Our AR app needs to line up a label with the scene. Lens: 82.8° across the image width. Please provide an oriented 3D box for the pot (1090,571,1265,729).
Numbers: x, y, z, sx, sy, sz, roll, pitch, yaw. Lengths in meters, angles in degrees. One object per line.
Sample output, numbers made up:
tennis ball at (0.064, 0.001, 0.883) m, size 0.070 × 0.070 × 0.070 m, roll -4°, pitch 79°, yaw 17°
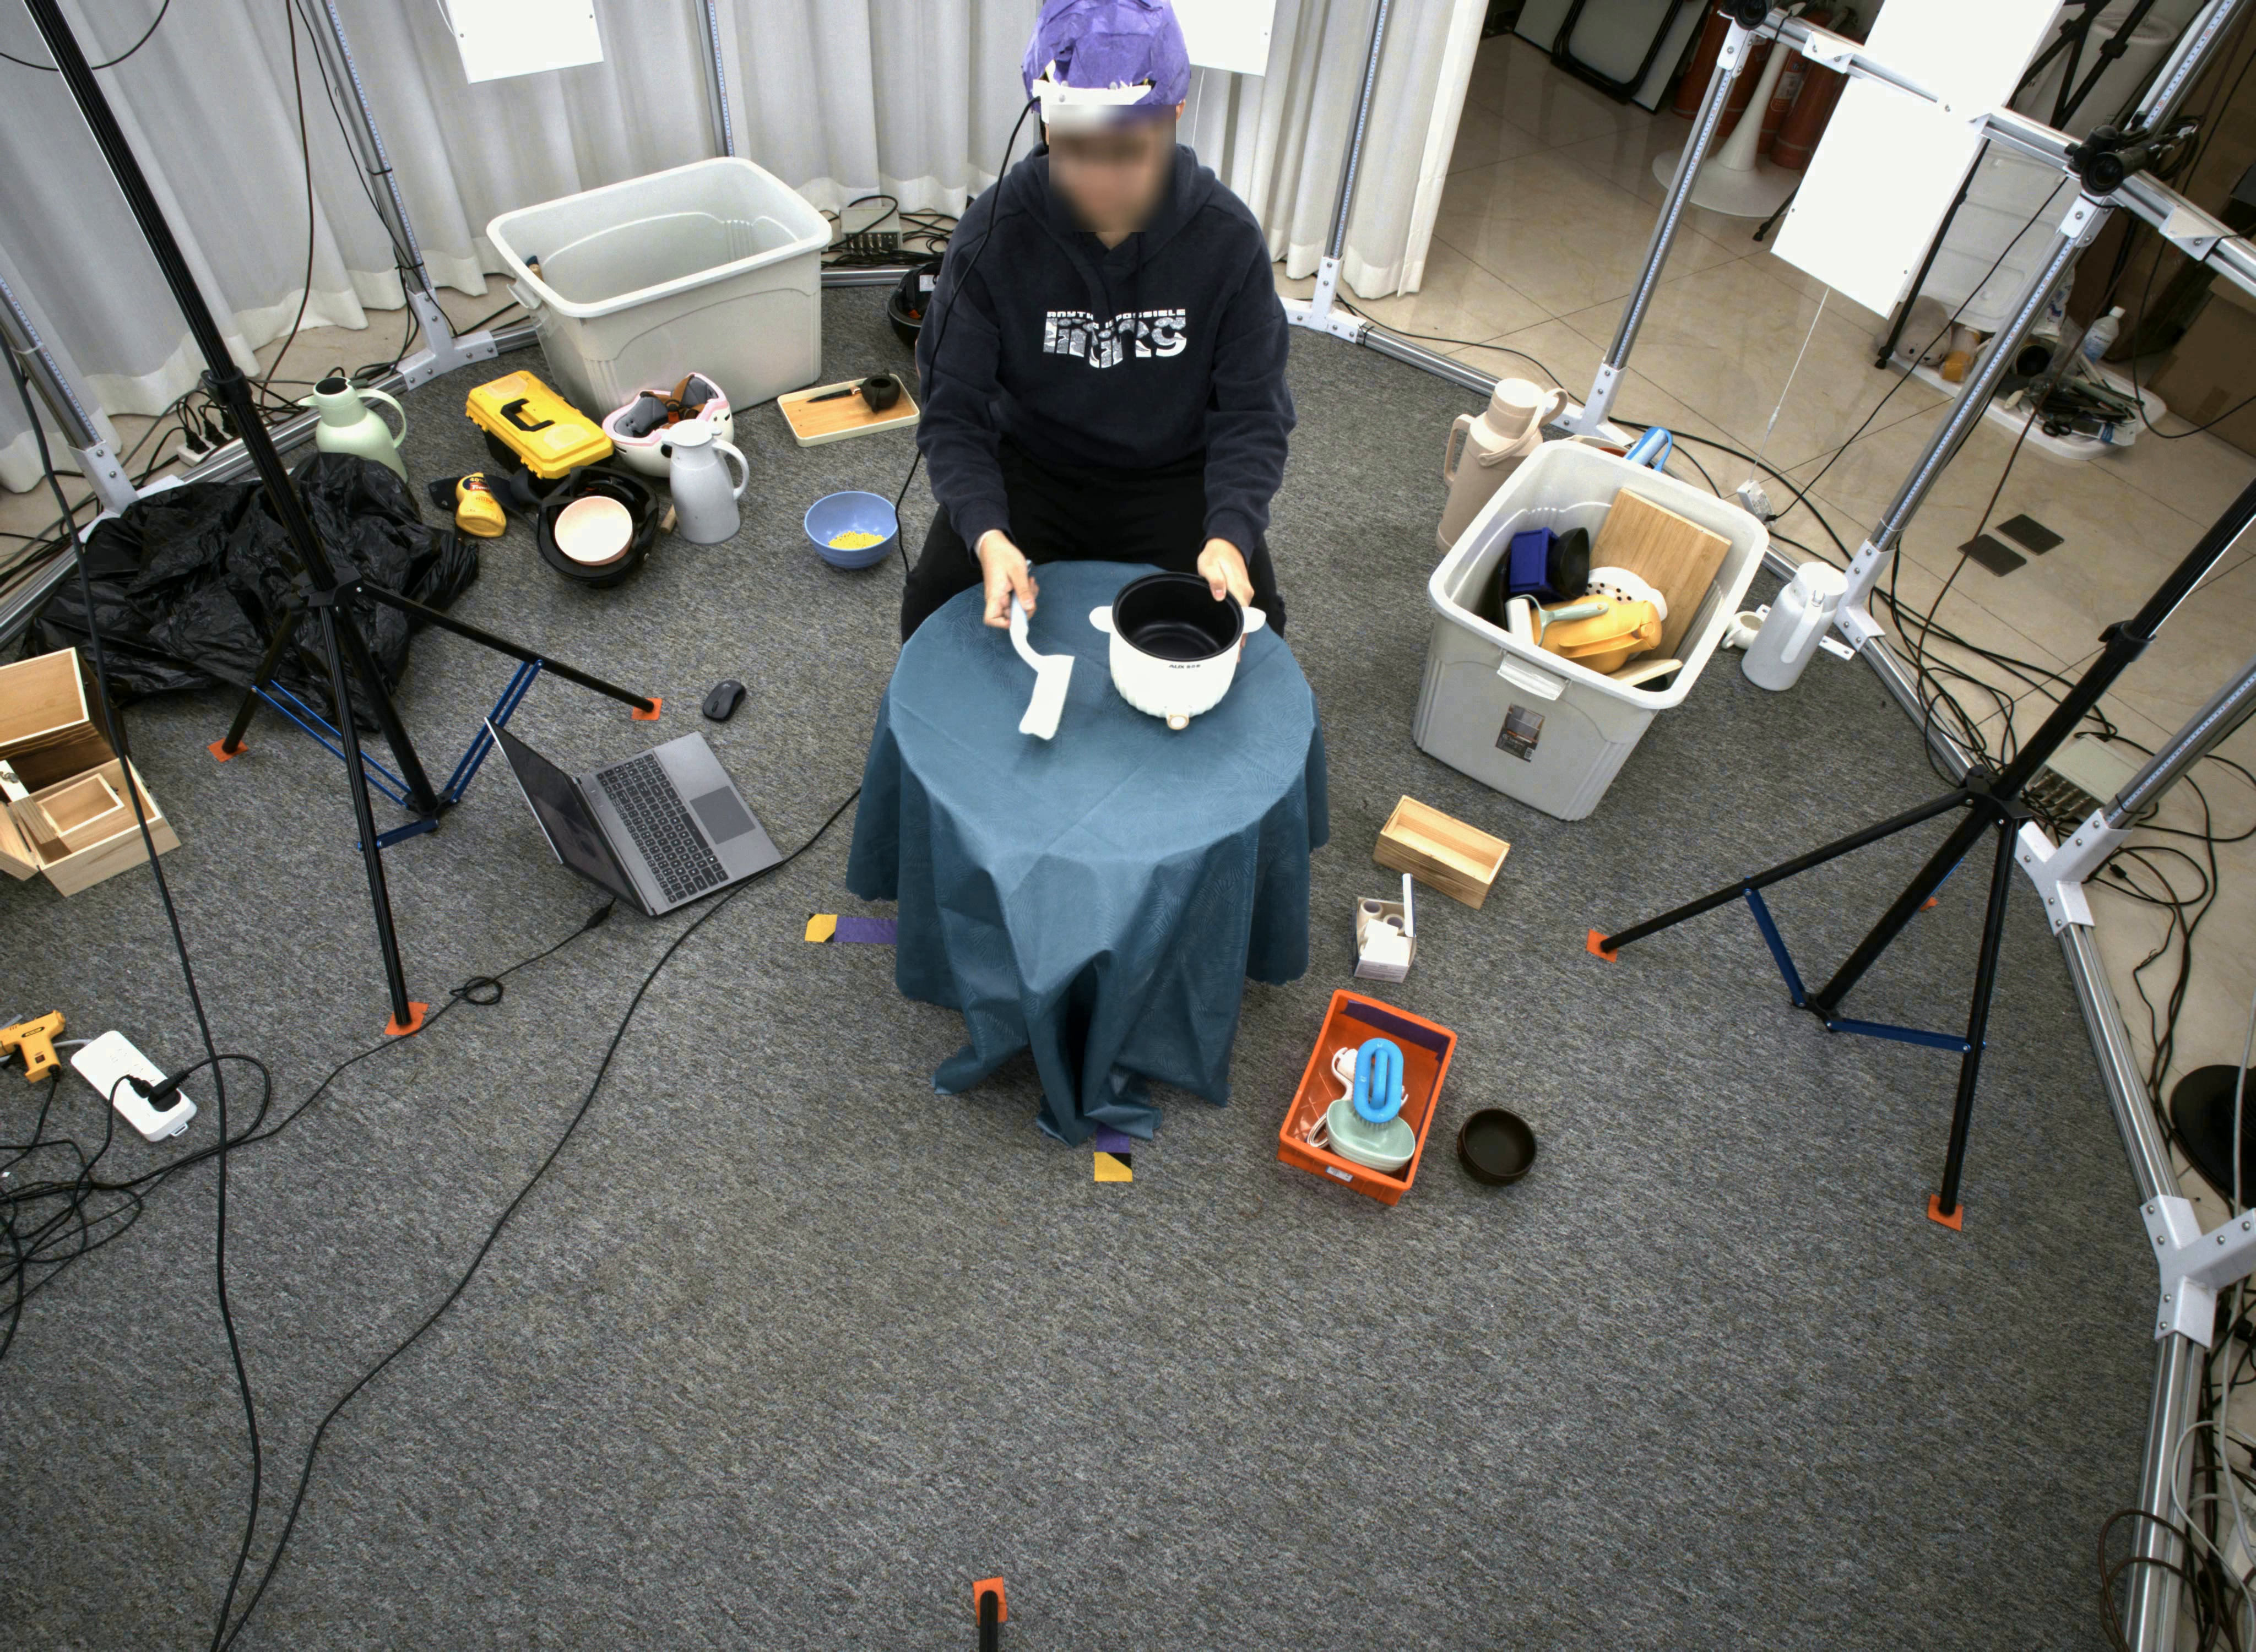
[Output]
pot at (0.066, -0.242, 1.791) m, size 0.240 × 0.139 × 0.195 m, roll -2°, pitch 46°, yaw -5°

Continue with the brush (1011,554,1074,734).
brush at (-0.109, -0.264, 1.805) m, size 0.083 × 0.082 × 0.333 m, roll 29°, pitch 42°, yaw -37°
